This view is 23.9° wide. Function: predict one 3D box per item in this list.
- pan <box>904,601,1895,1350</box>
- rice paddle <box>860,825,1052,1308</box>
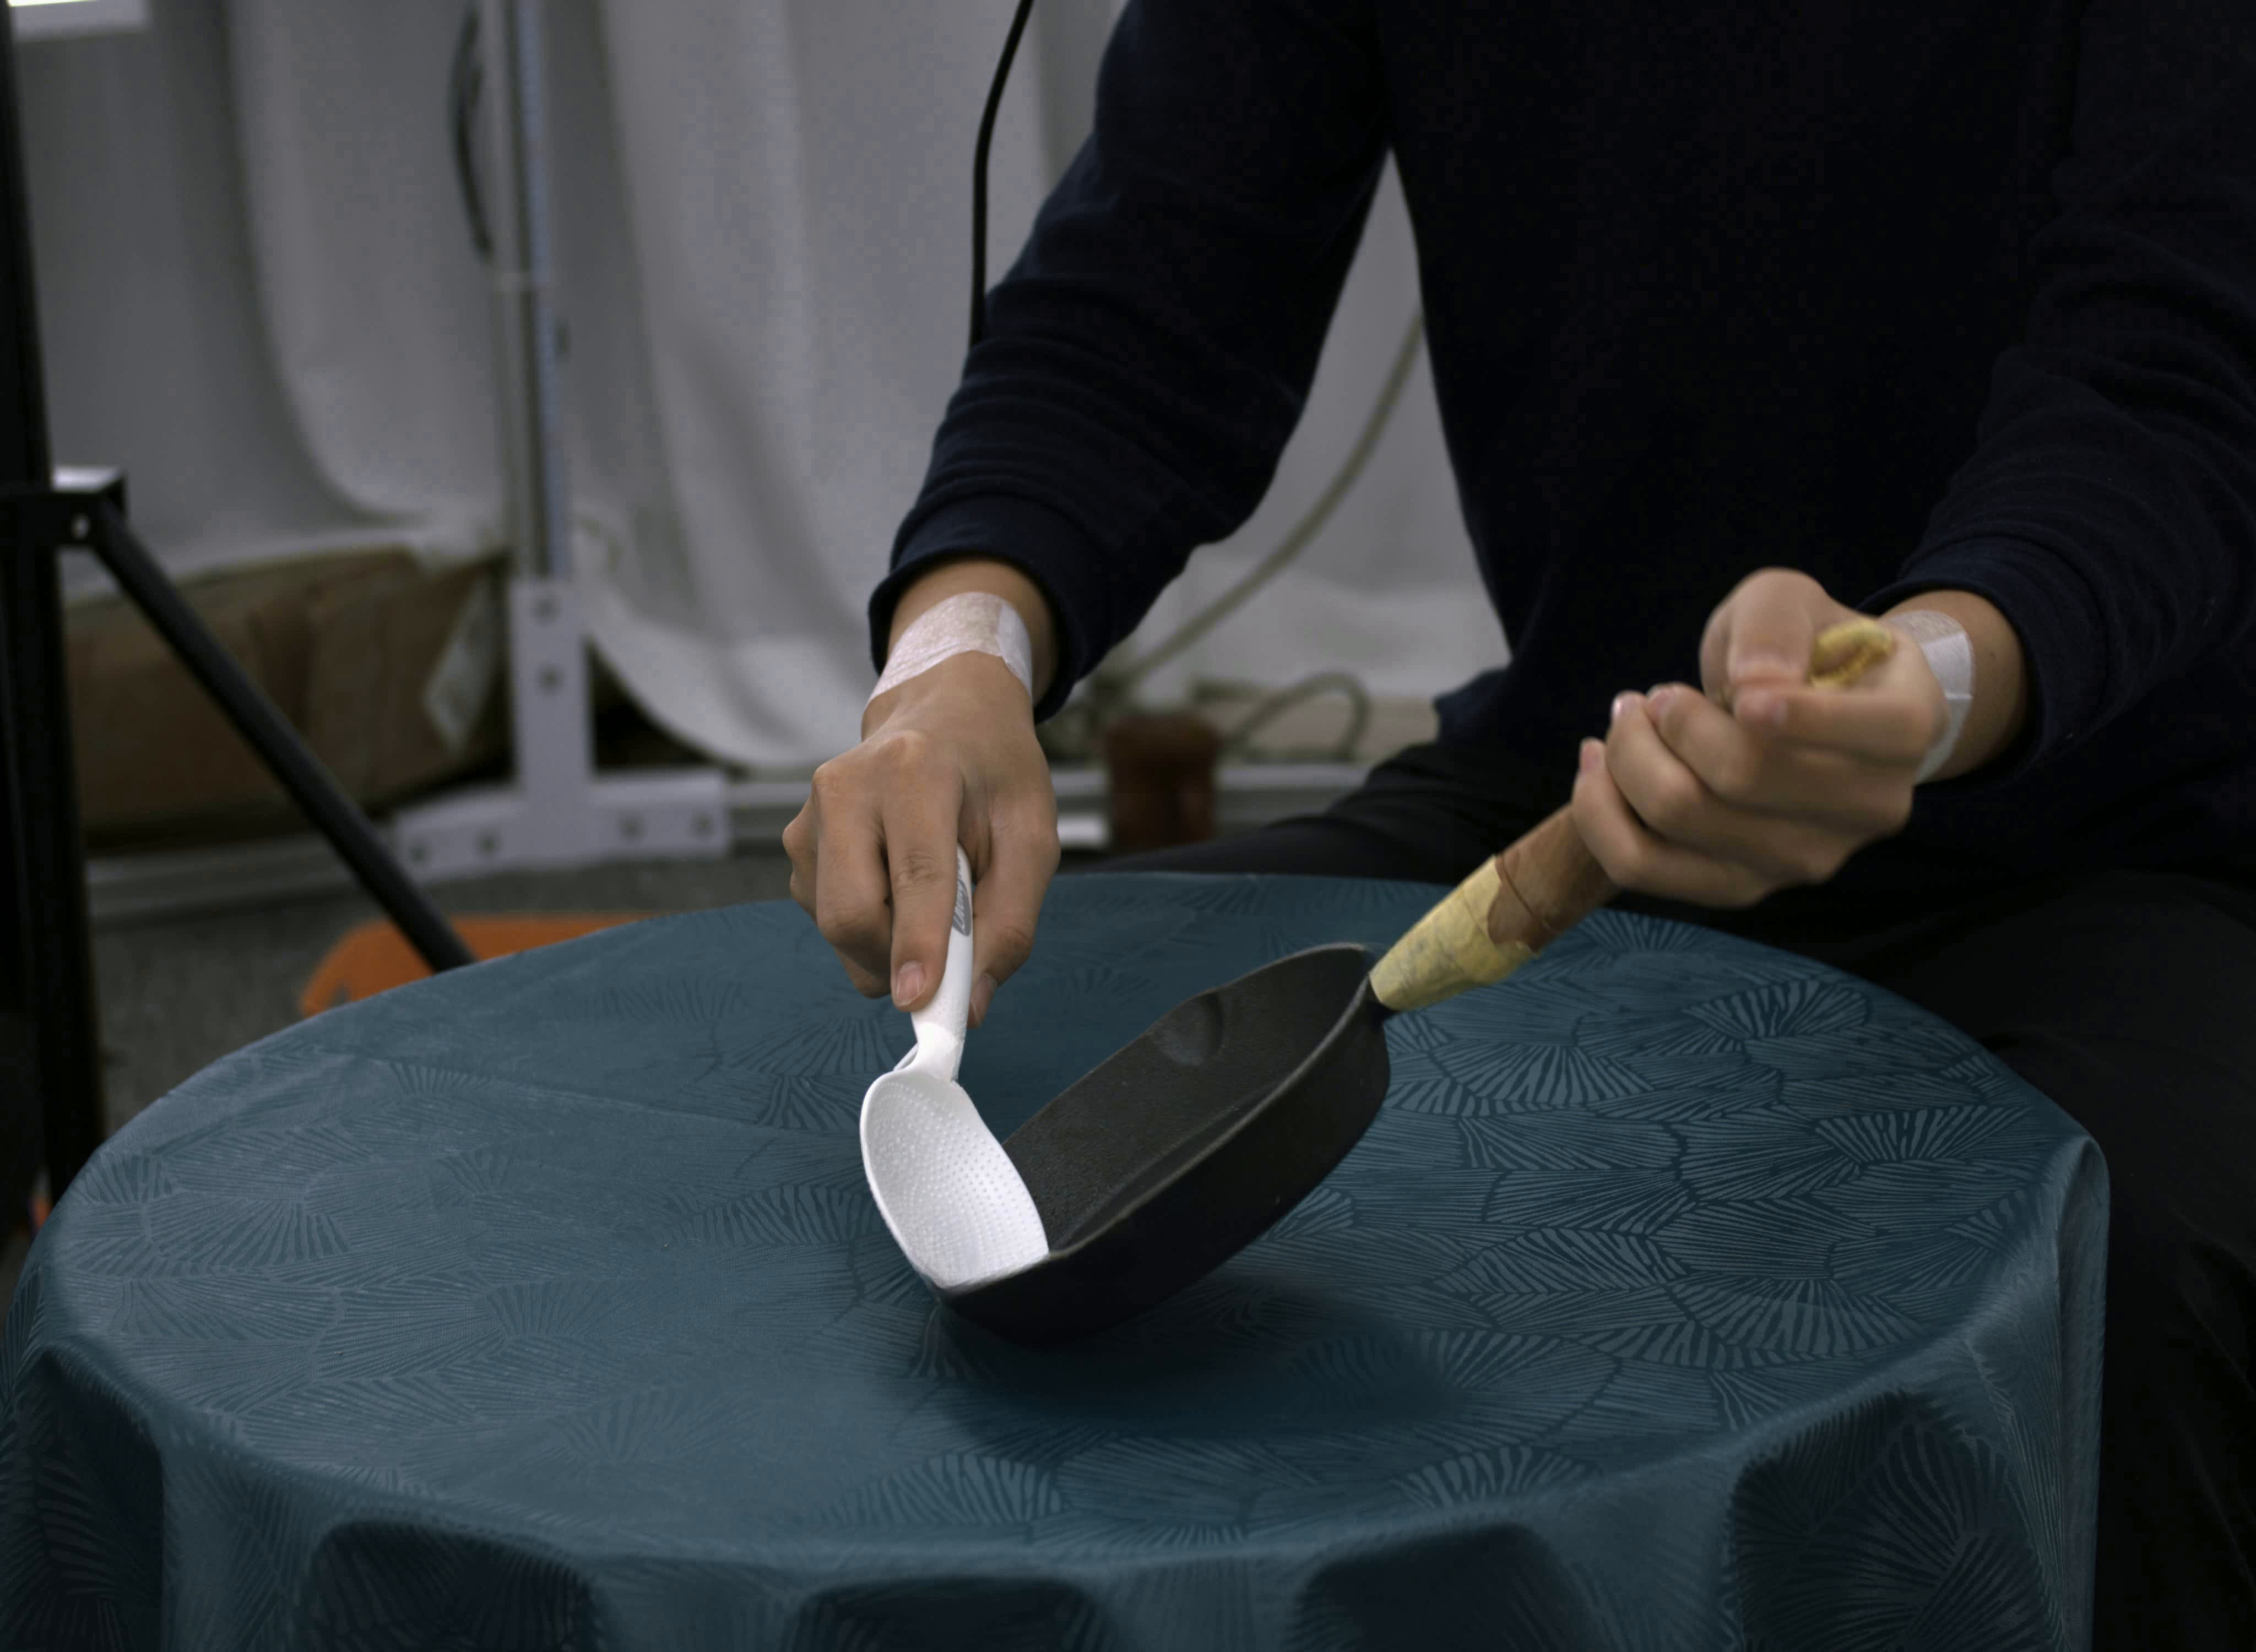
[{"bbox_3d":[0.074,0.042,1.411,0.327,0.049,0.168,-34,11,22],"label":"pan"},{"bbox_3d":[-0.052,0.069,1.512,0.067,0.029,0.208,34,23,-26],"label":"rice paddle"}]
